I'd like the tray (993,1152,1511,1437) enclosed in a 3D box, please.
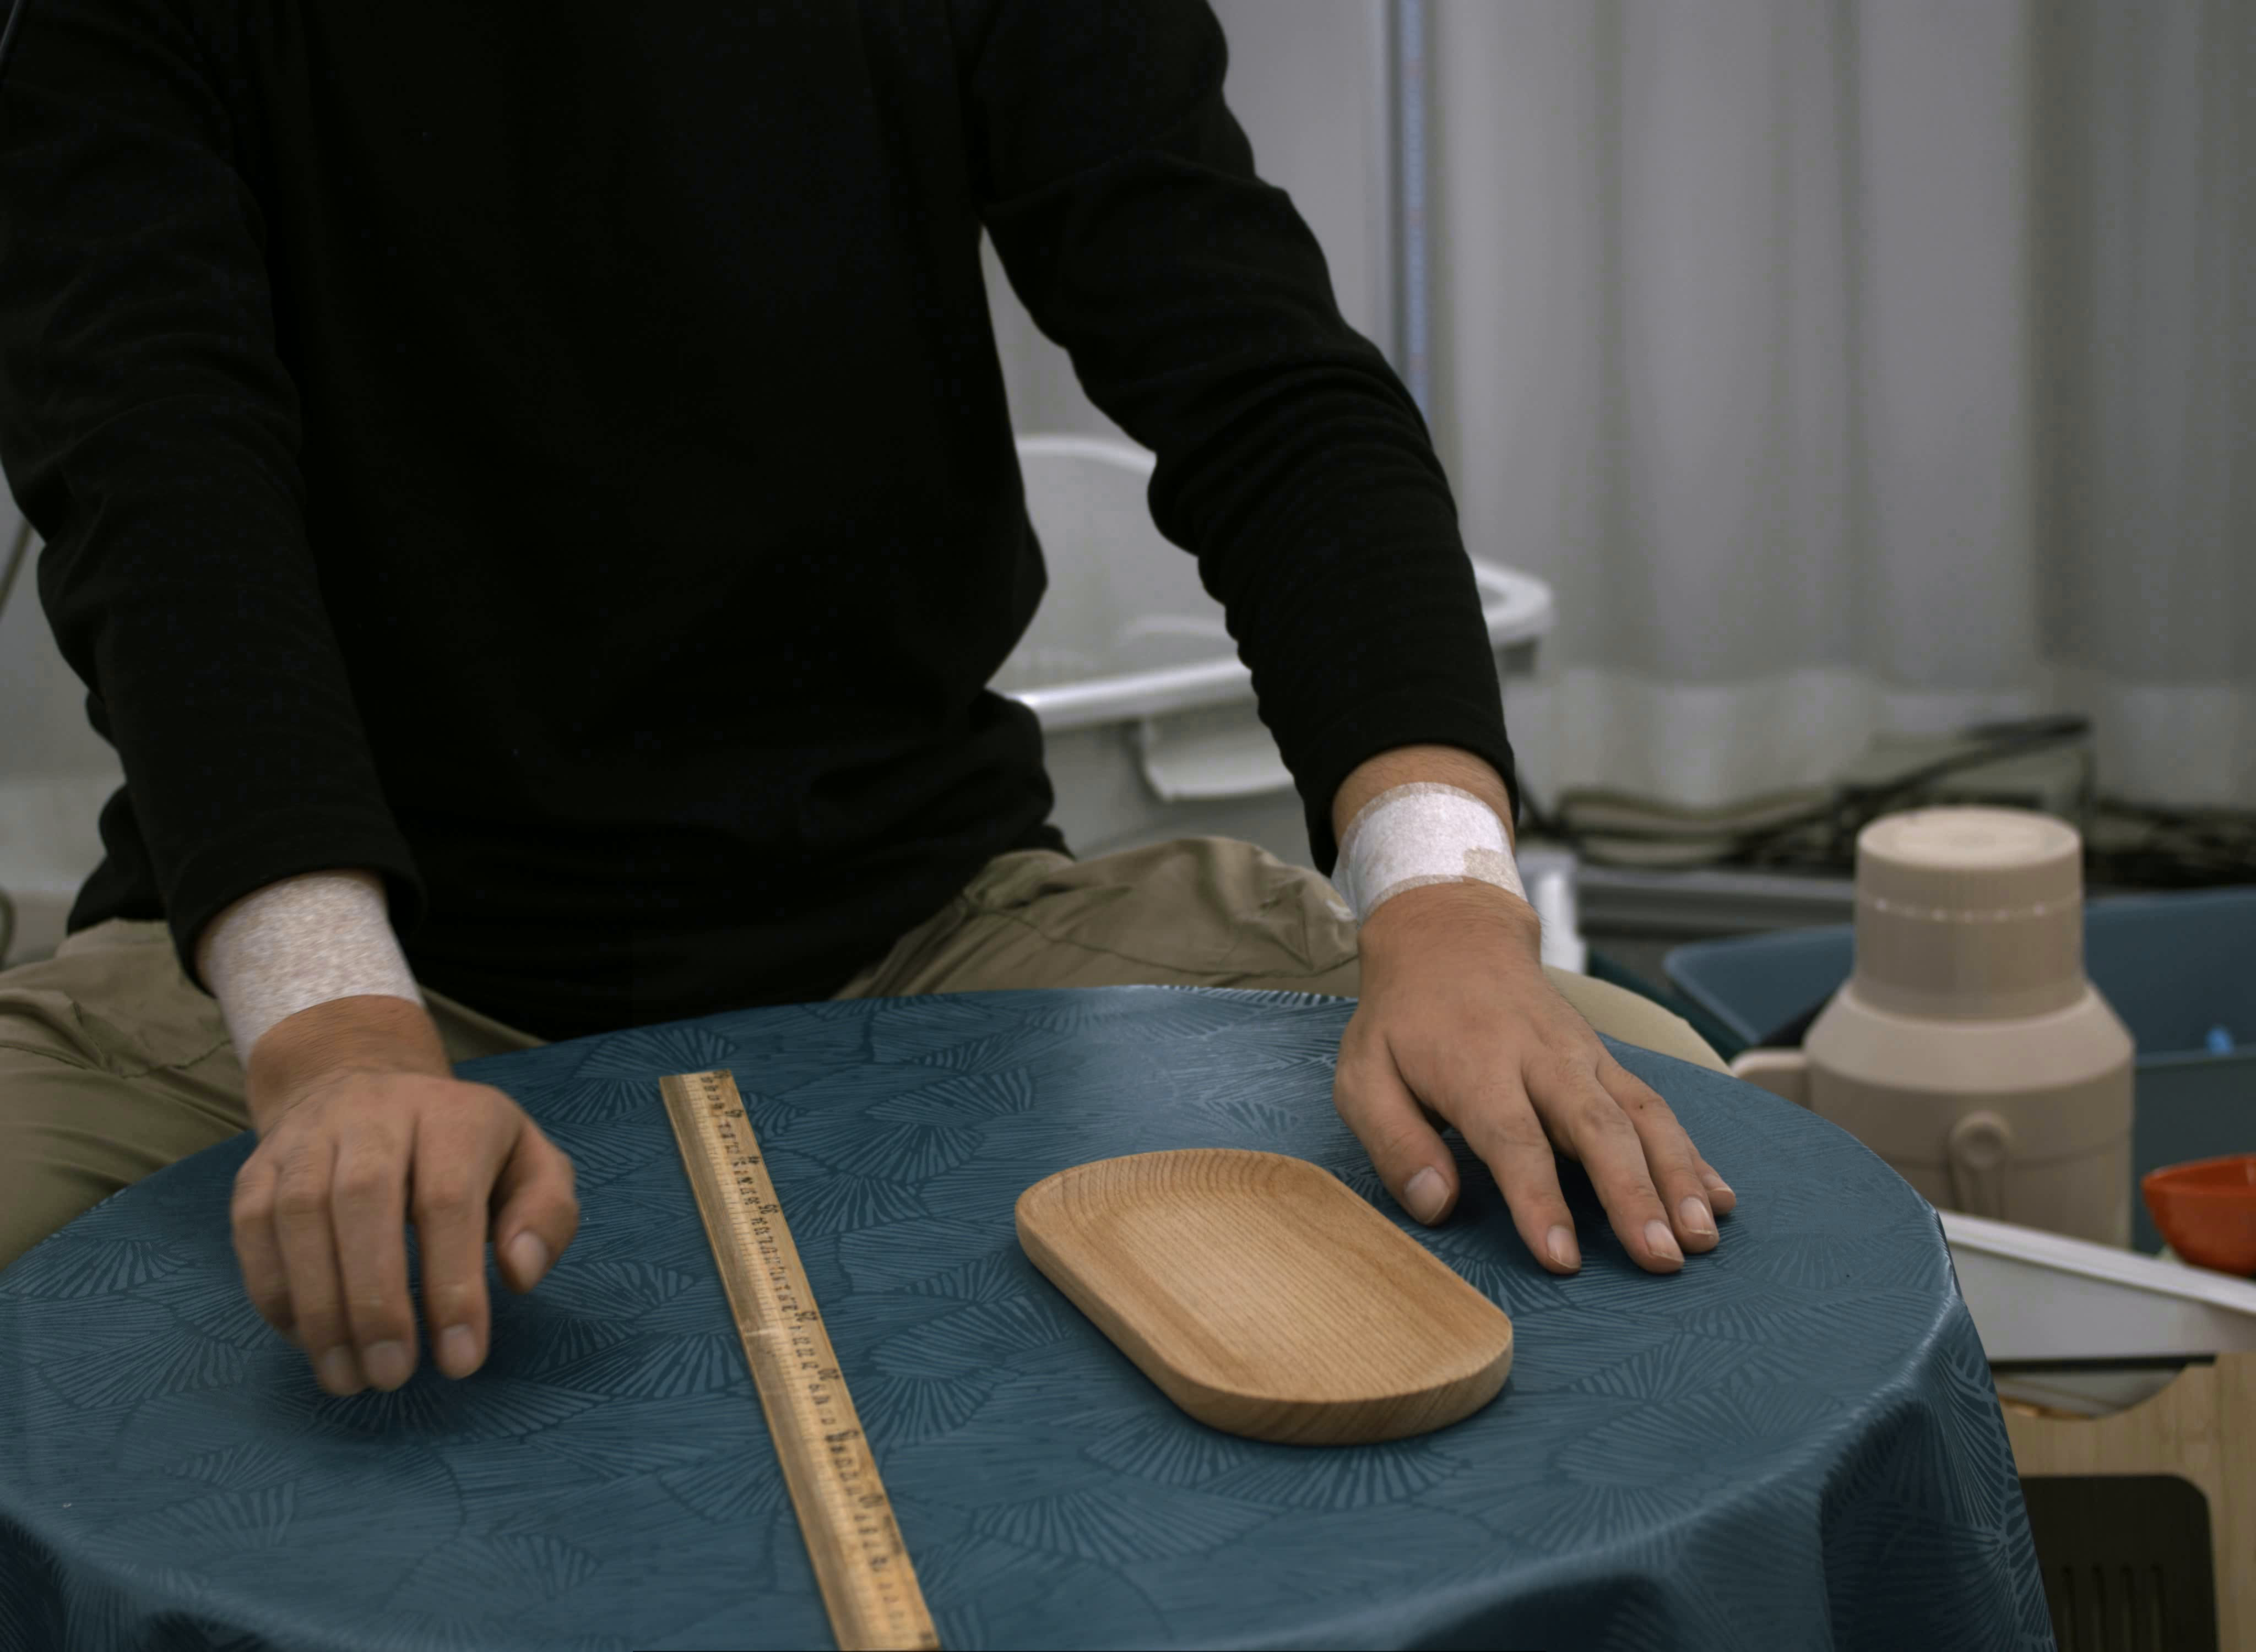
[{"bbox_3d":[0.034,0.135,1.600,0.101,0.020,0.233,-7,13,-20],"label":"tray"}]

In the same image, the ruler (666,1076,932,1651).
[{"bbox_3d":[-0.101,0.147,1.602,0.026,0.006,0.504,-4,15,-9],"label":"ruler"}]
